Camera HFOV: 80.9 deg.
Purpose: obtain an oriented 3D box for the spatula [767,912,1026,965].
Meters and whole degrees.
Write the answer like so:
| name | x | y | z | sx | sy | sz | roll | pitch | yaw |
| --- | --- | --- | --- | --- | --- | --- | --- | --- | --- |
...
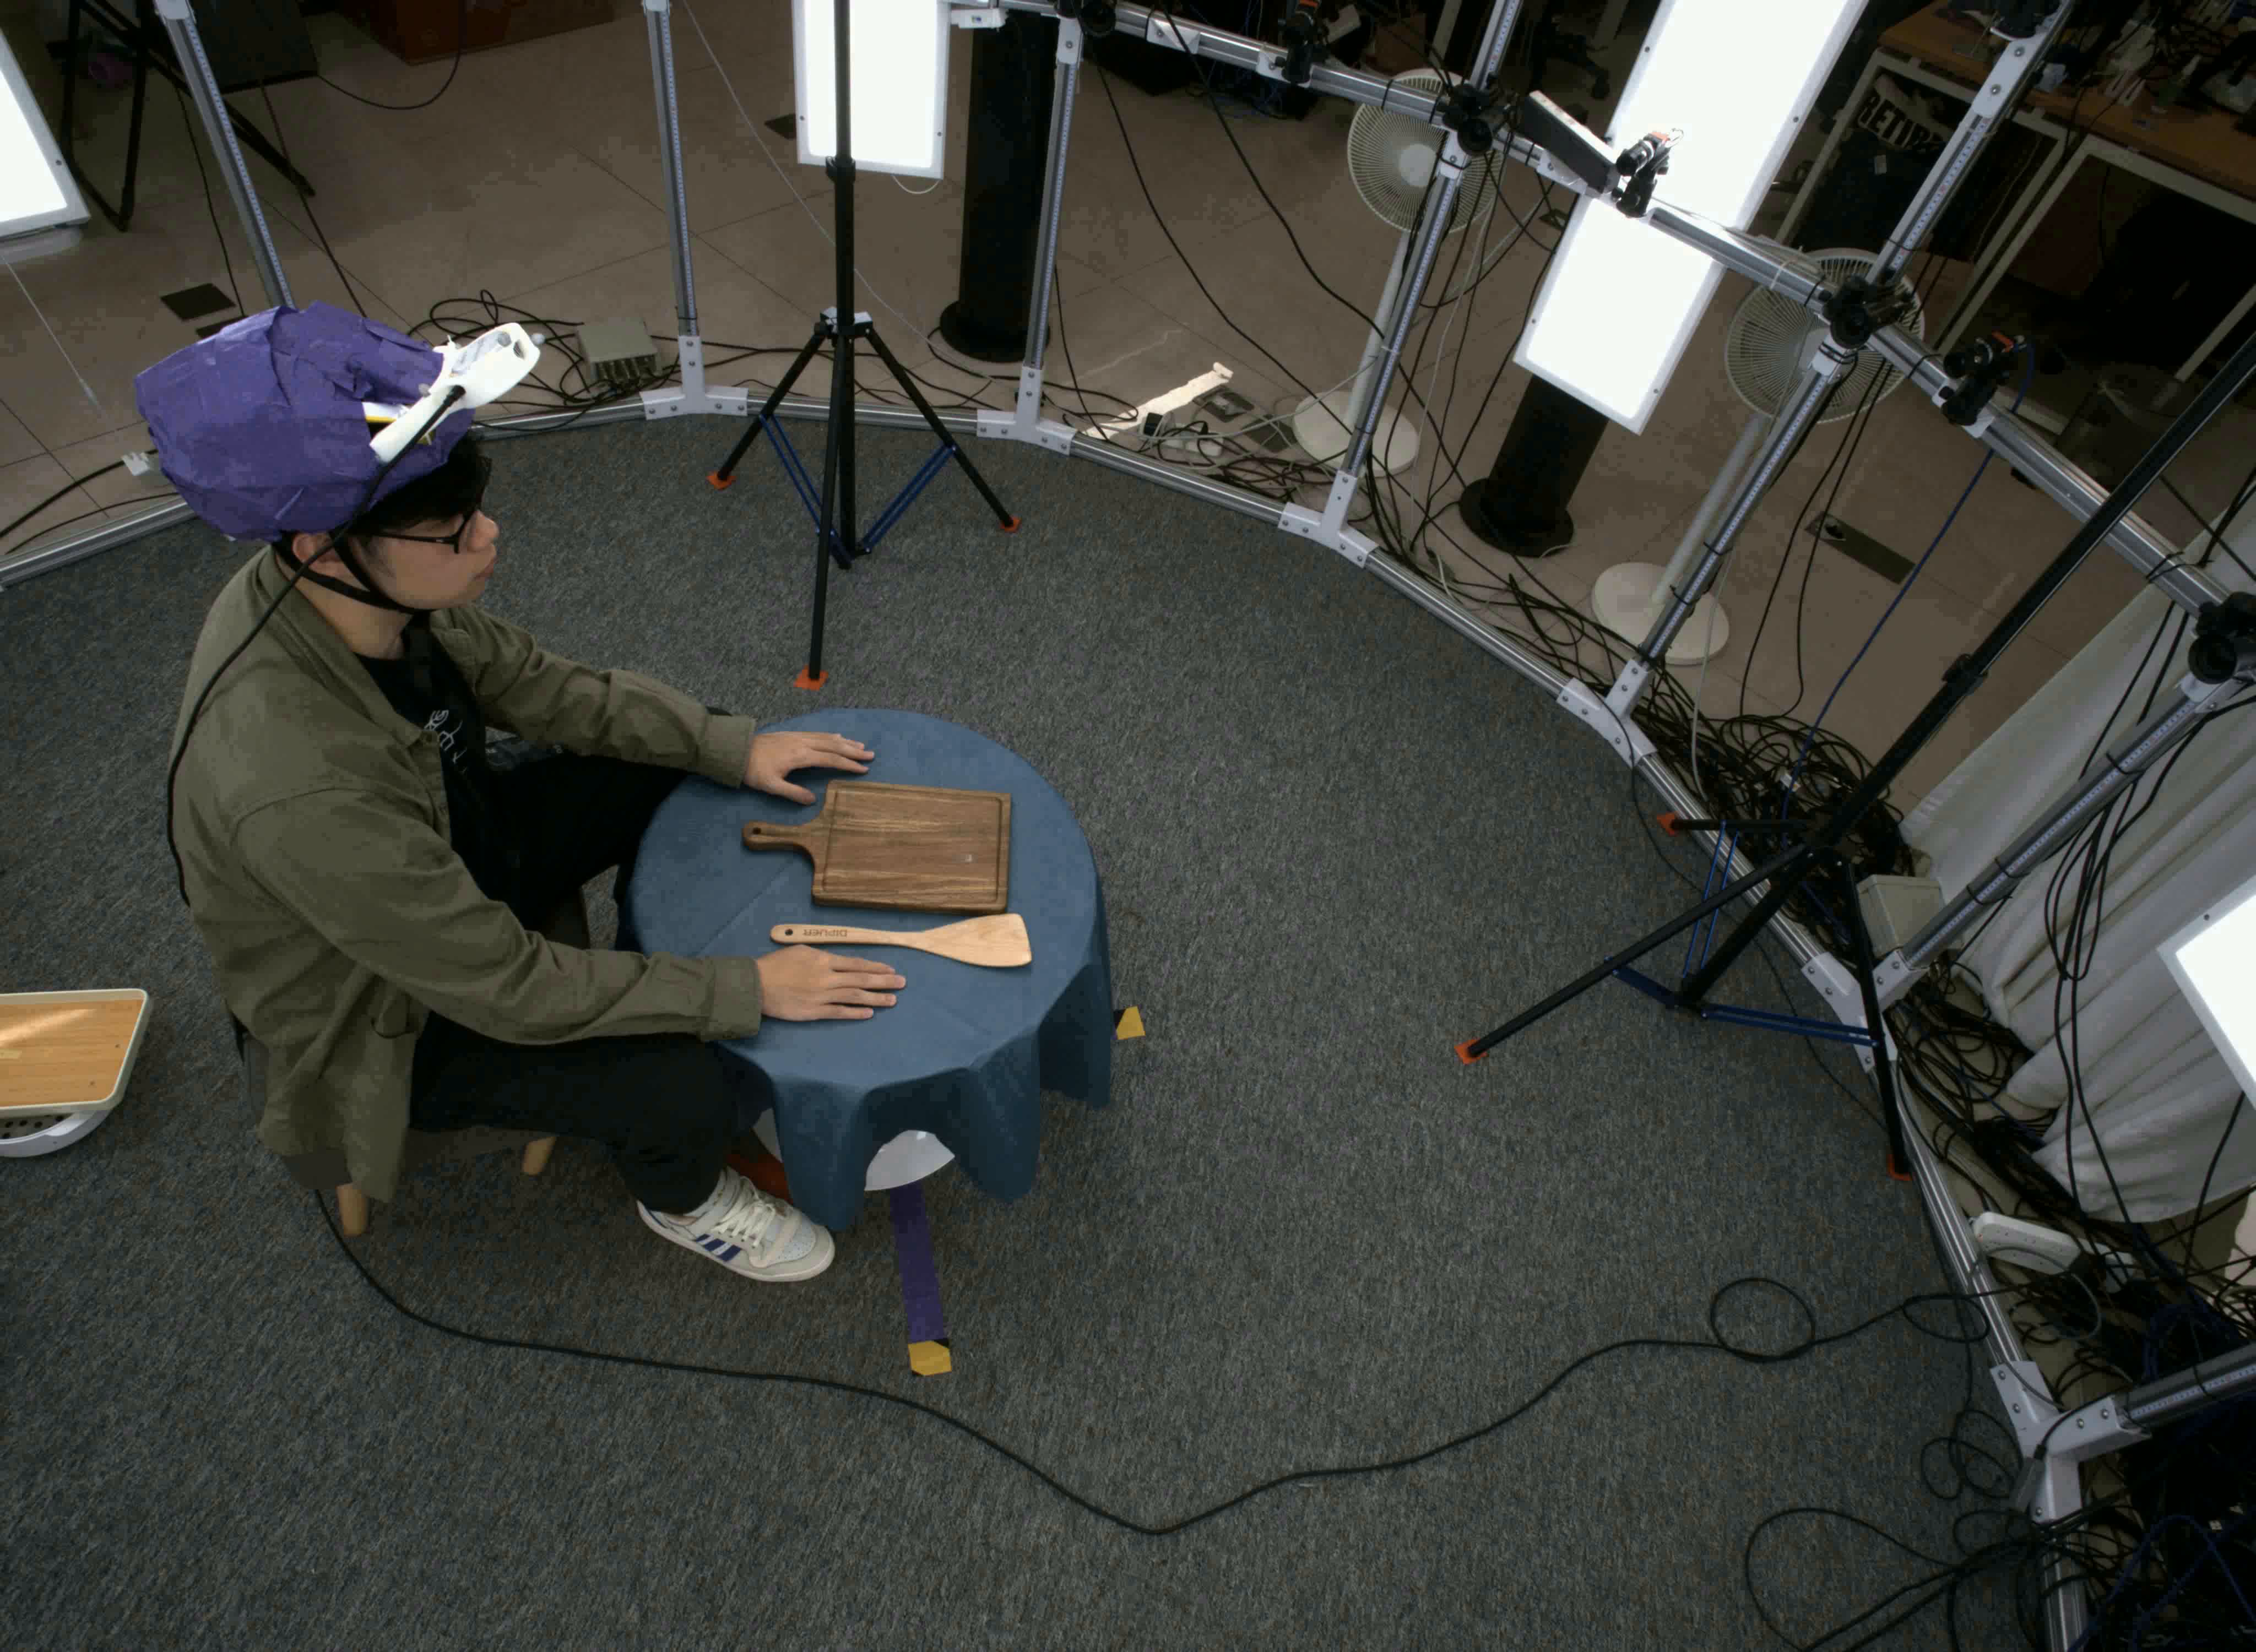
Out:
| name | x | y | z | sx | sy | sz | roll | pitch | yaw |
| --- | --- | --- | --- | --- | --- | --- | --- | --- | --- |
| spatula | -0.294 | 0.139 | 1.658 | 0.327 | 0.017 | 0.078 | 3 | 53 | -12 |

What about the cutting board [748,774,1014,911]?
| name | x | y | z | sx | sy | sz | roll | pitch | yaw |
| --- | --- | --- | --- | --- | --- | --- | --- | --- | --- |
| cutting board | -0.330 | 0.015 | 1.739 | 0.351 | 0.024 | 0.197 | 6 | 53 | -9 |
